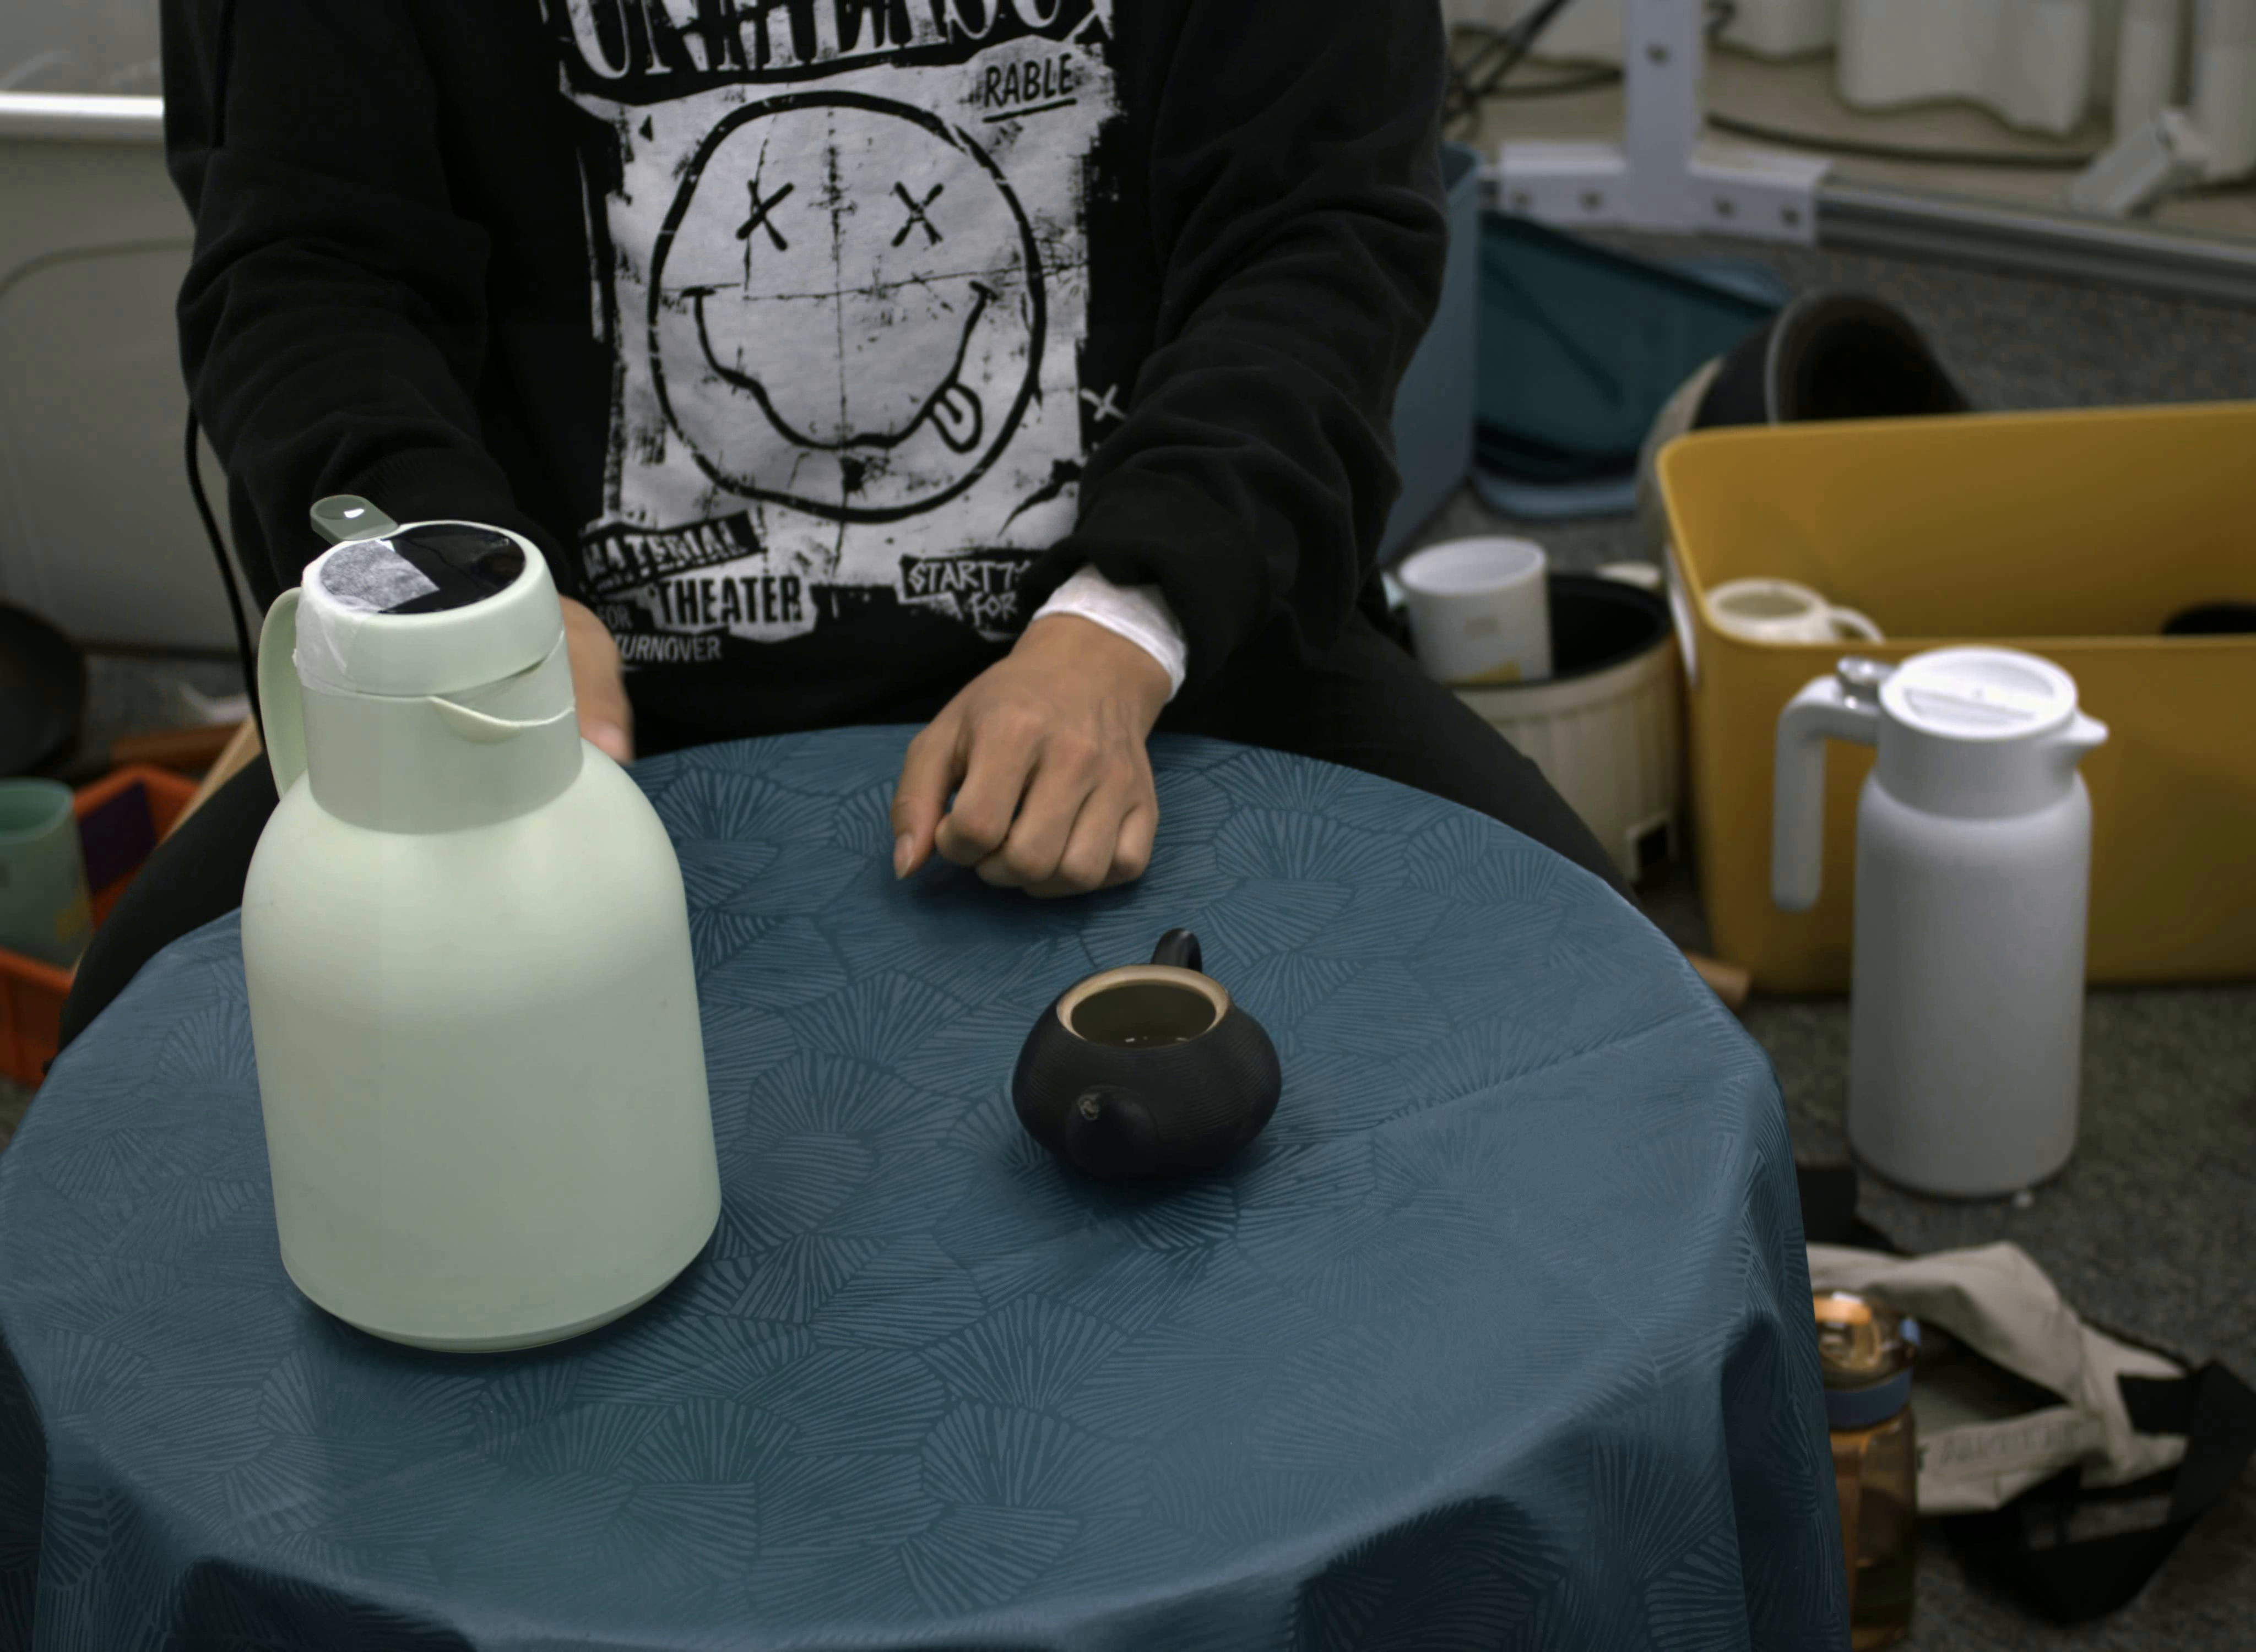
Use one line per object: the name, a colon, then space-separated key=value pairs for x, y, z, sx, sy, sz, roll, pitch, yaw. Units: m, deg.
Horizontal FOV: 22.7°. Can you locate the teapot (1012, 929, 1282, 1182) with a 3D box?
teapot: x=0.006 y=0.083 z=1.876 sx=0.090 sy=0.052 sz=0.135 roll=5 pitch=29 yaw=13

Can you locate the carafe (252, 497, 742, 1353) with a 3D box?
carafe: x=-0.216 y=0.025 z=1.799 sx=0.145 sy=0.254 sz=0.187 roll=-21 pitch=28 yaw=-28
